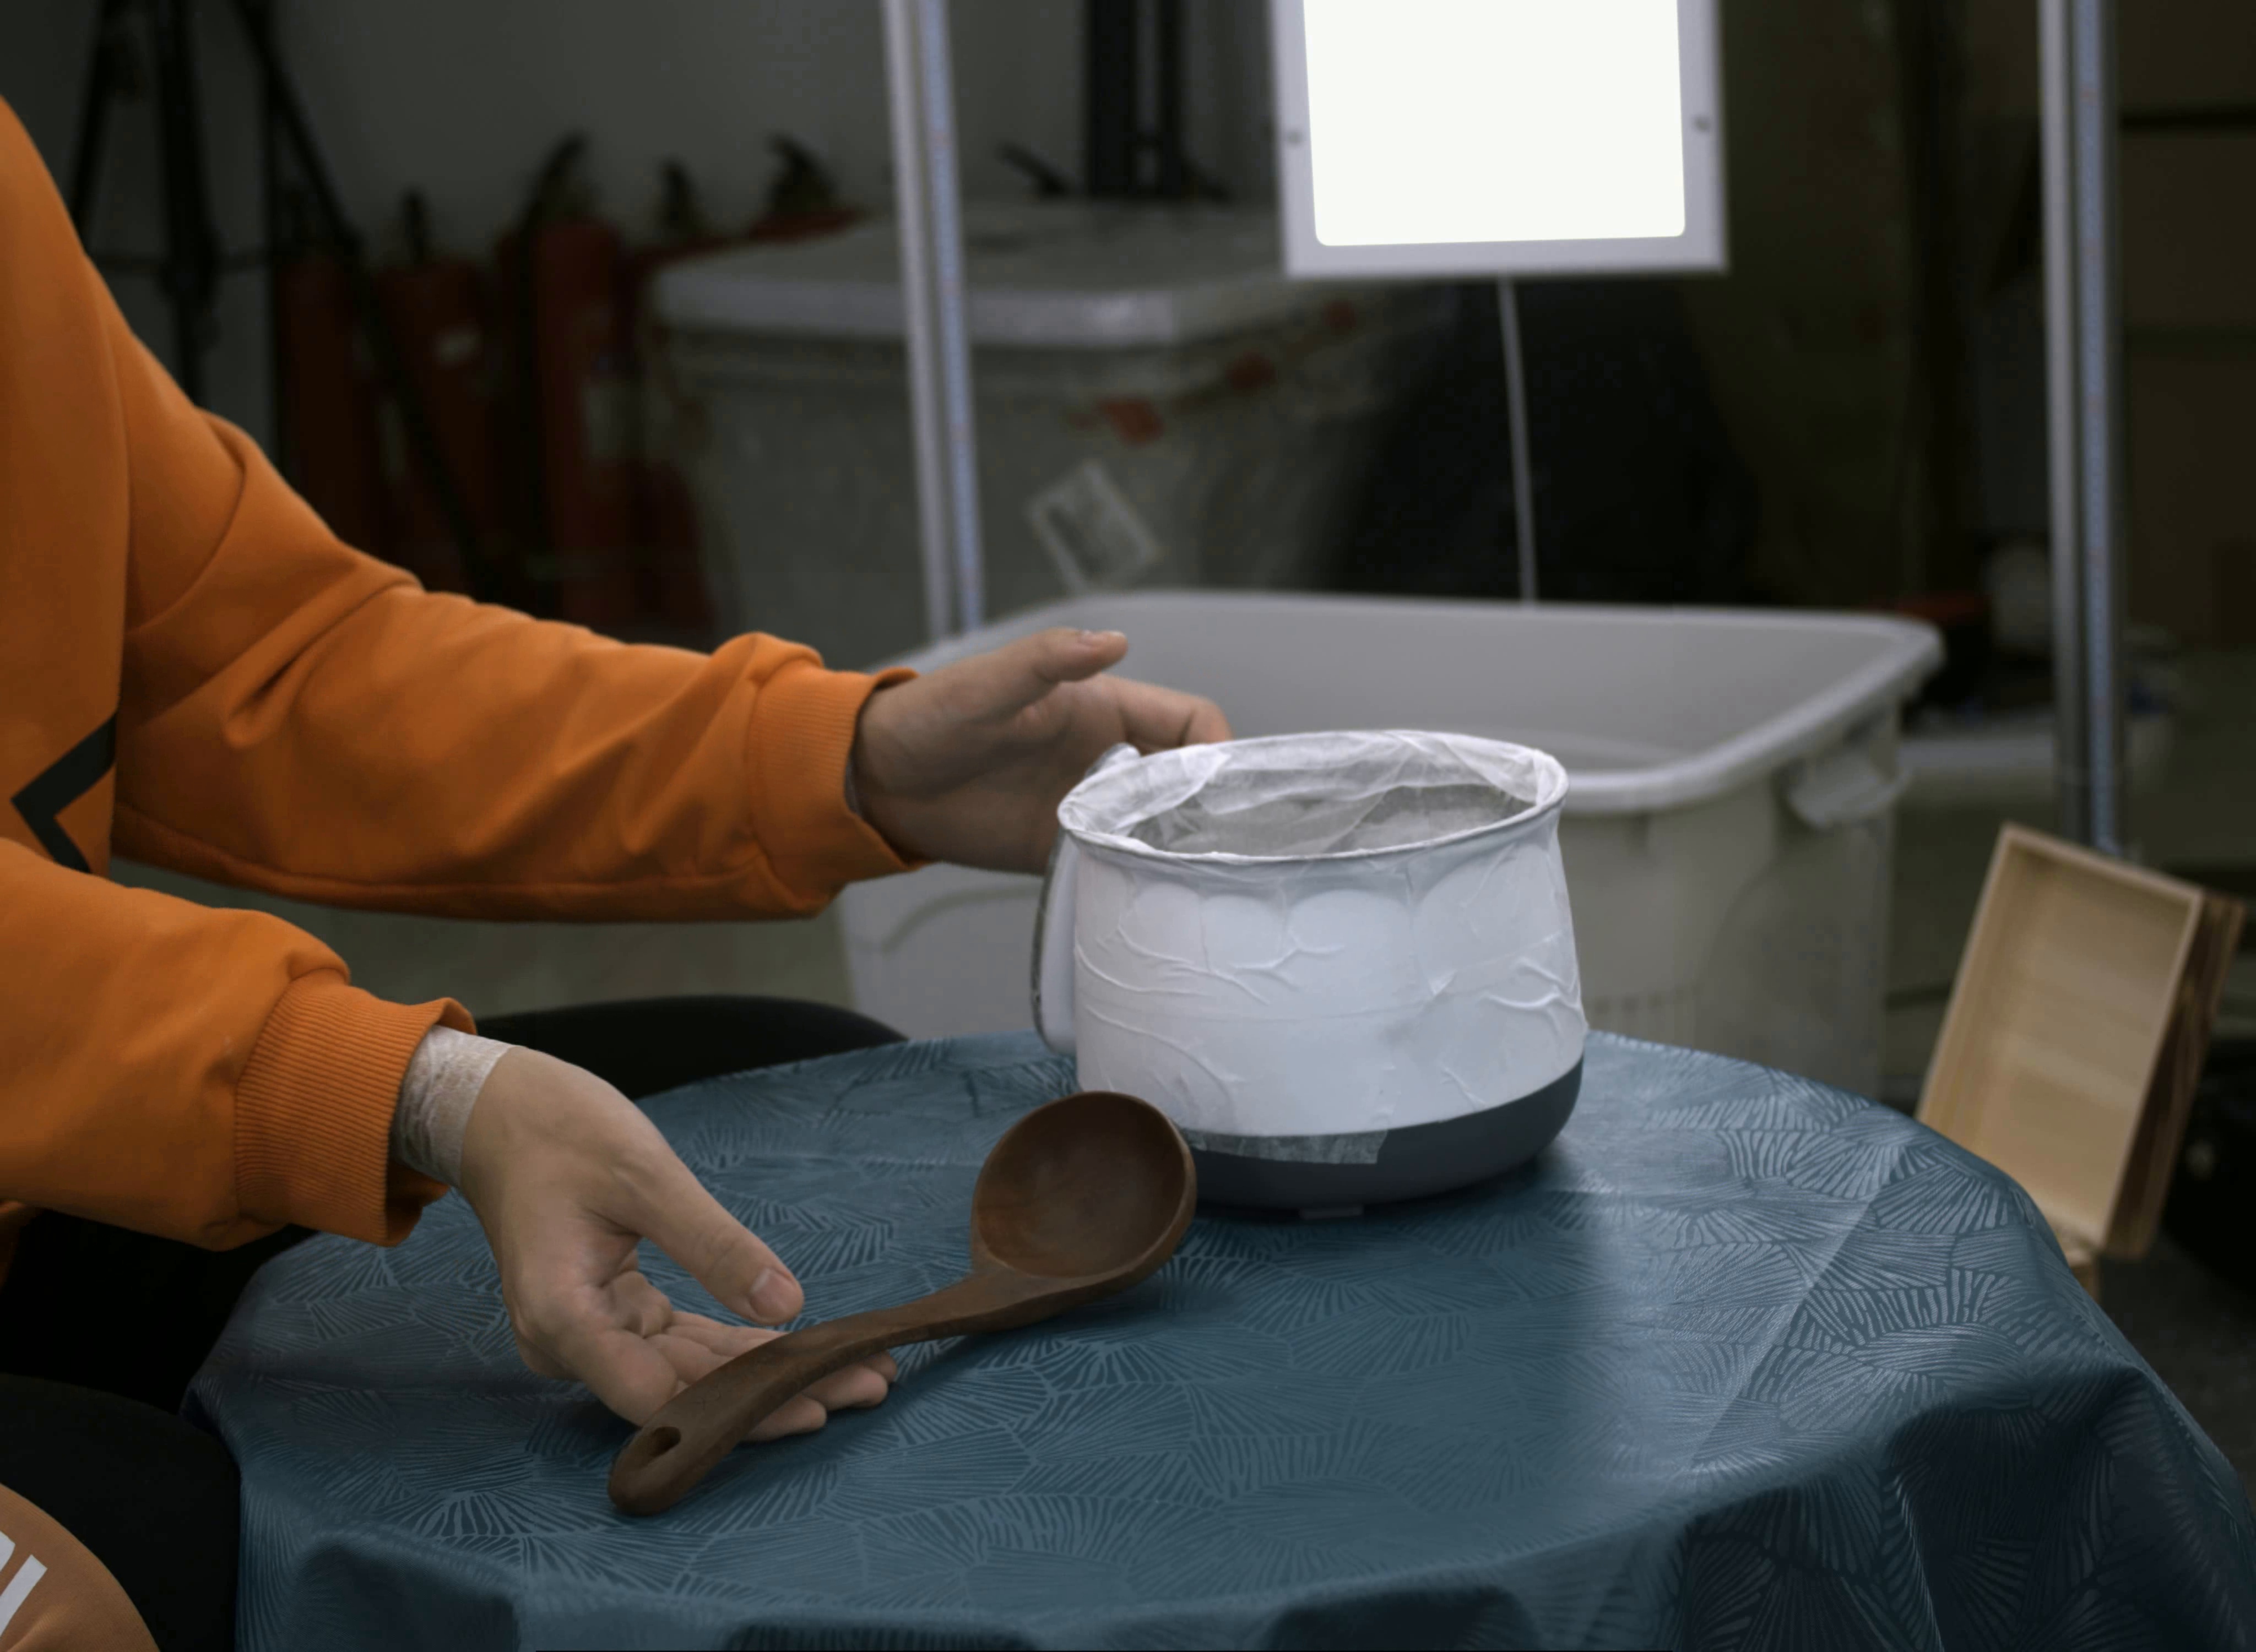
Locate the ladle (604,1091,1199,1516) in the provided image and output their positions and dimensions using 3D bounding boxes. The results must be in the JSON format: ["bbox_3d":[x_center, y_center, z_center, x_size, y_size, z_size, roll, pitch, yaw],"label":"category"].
[{"bbox_3d":[-0.071,0.145,1.716,0.078,0.065,0.254,17,23,35],"label":"ladle"}]

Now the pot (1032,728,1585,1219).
[{"bbox_3d":[0.049,0.046,1.920,0.174,0.137,0.239,-16,18,-40],"label":"pot"}]
